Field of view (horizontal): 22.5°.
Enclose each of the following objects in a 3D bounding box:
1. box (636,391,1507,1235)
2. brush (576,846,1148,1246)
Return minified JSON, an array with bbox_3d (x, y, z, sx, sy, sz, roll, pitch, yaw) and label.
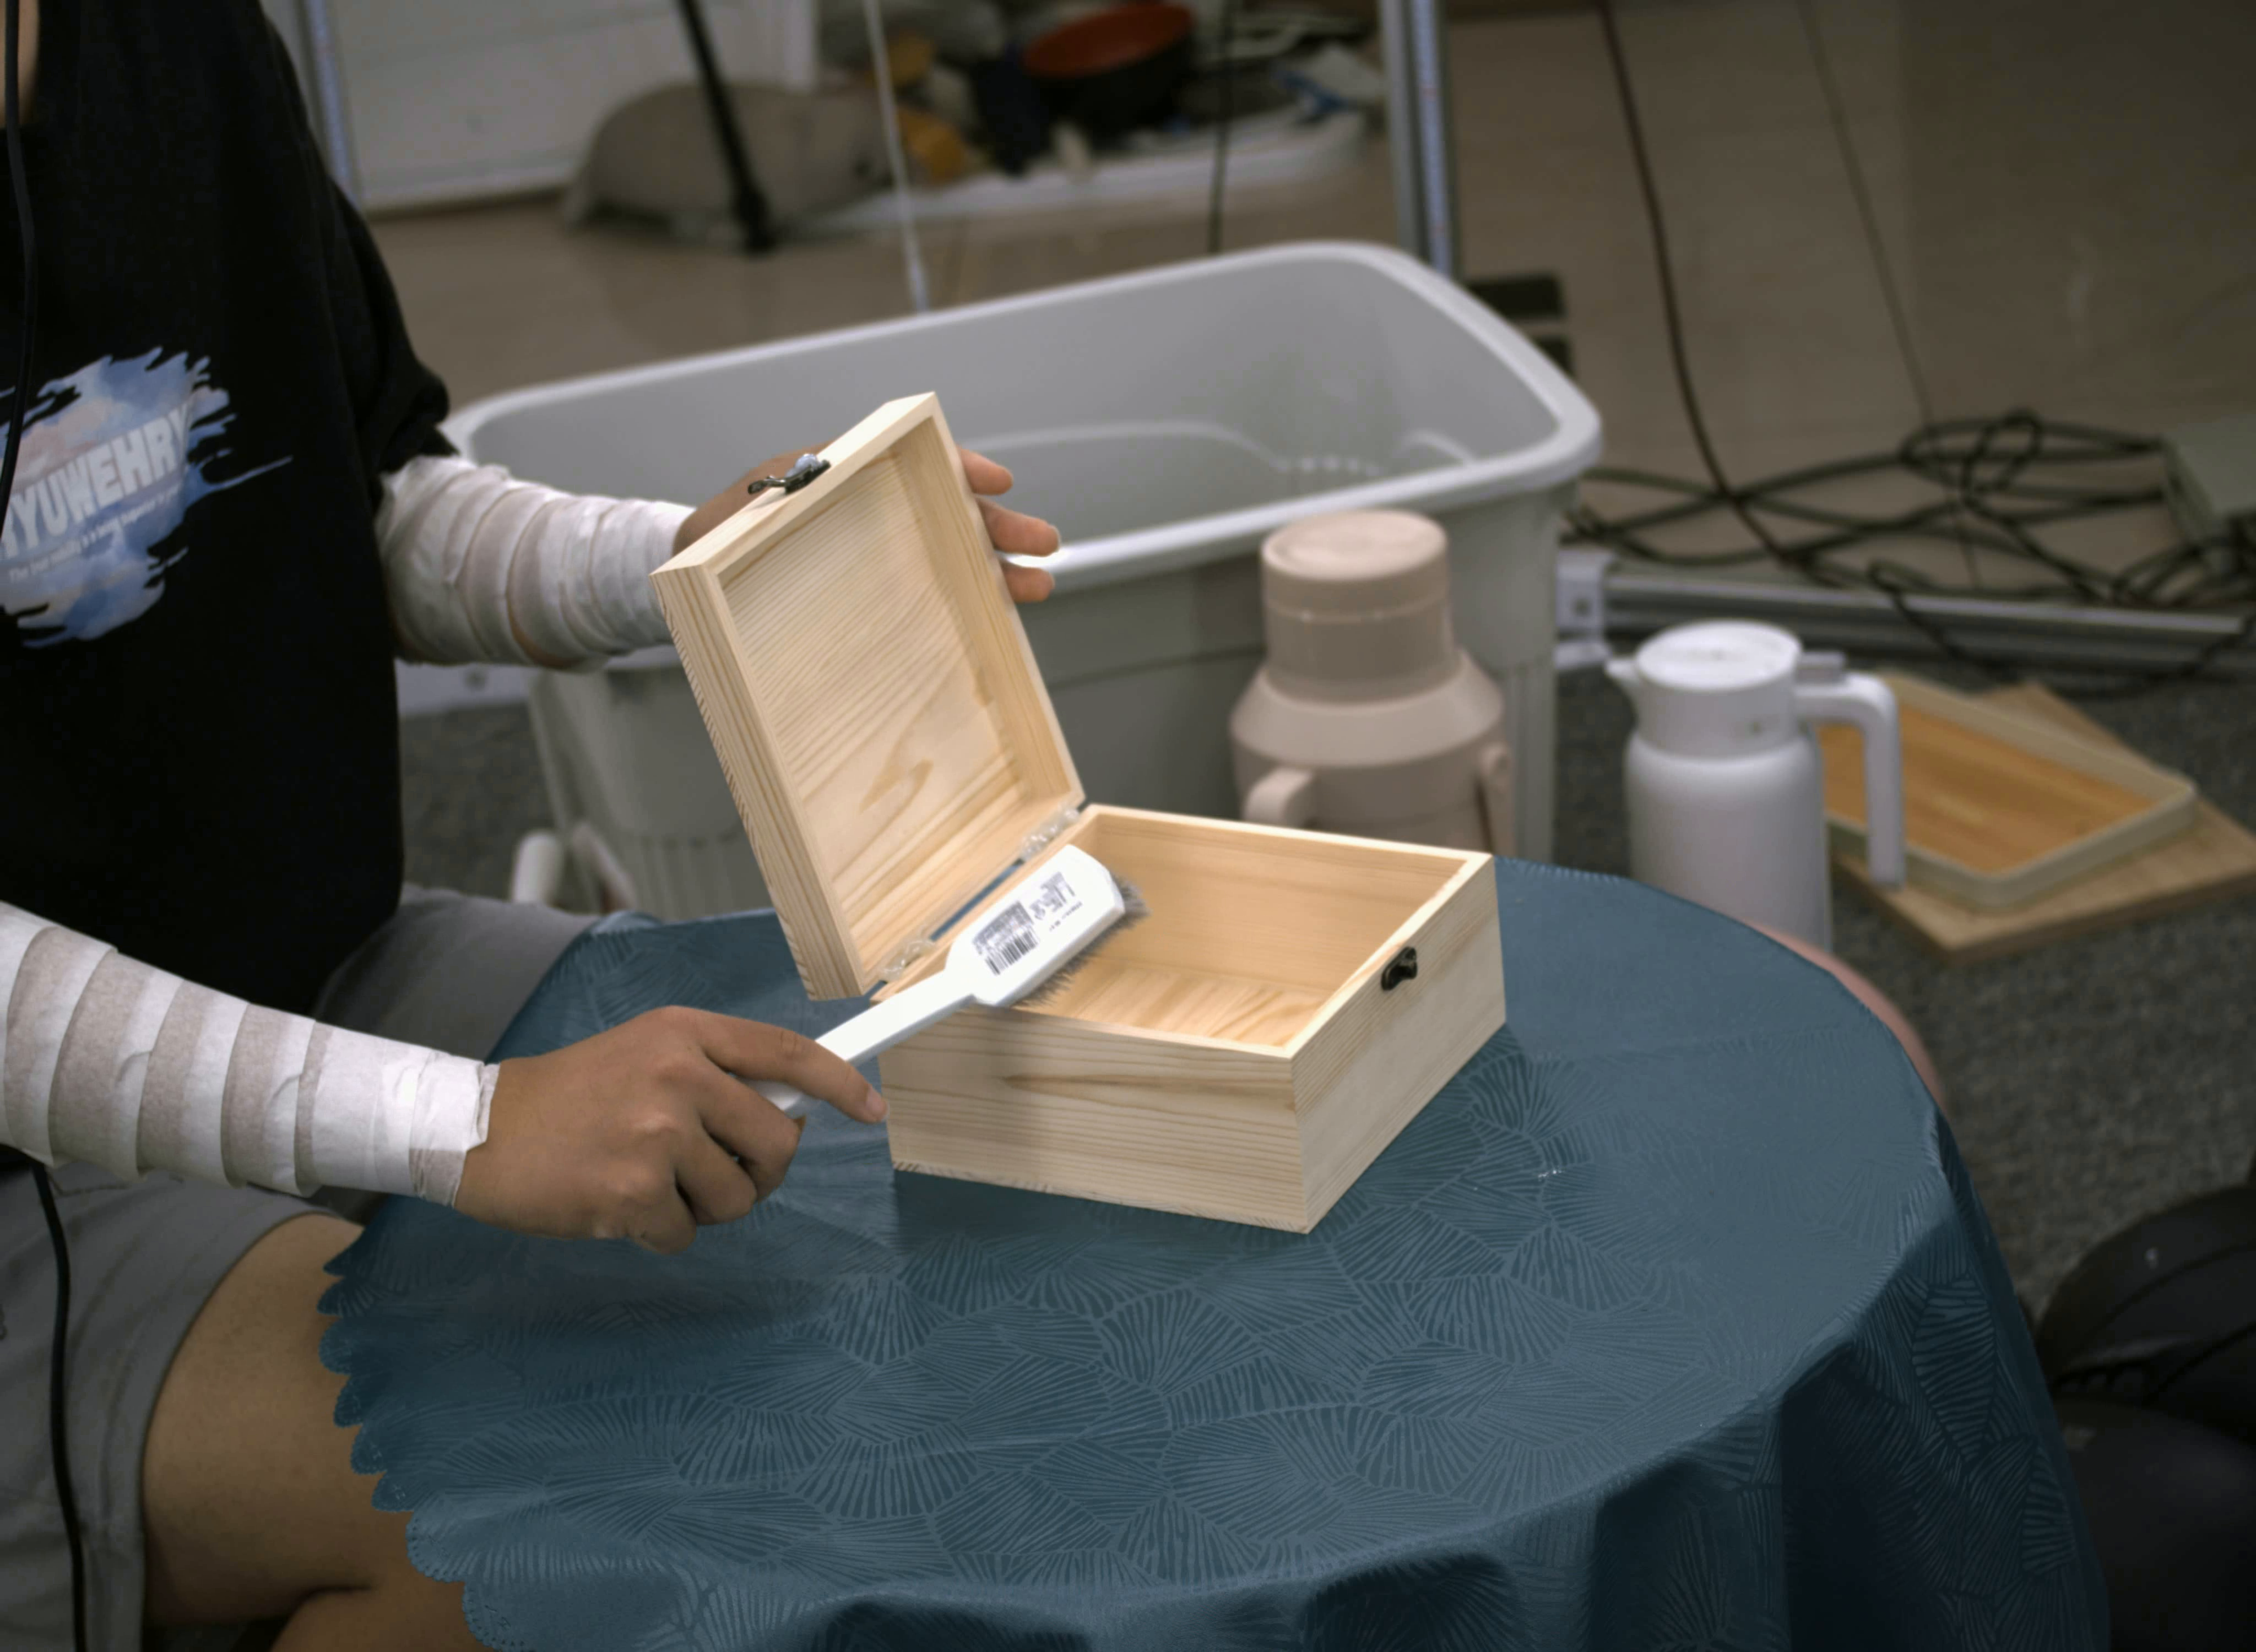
[{"bbox_3d":[-0.014,-0.010,2.174,0.264,0.257,0.179,7,30,27],"label":"box"},{"bbox_3d":[-0.098,0.087,2.103,0.243,0.051,0.034,-35,68,-7],"label":"brush"}]
